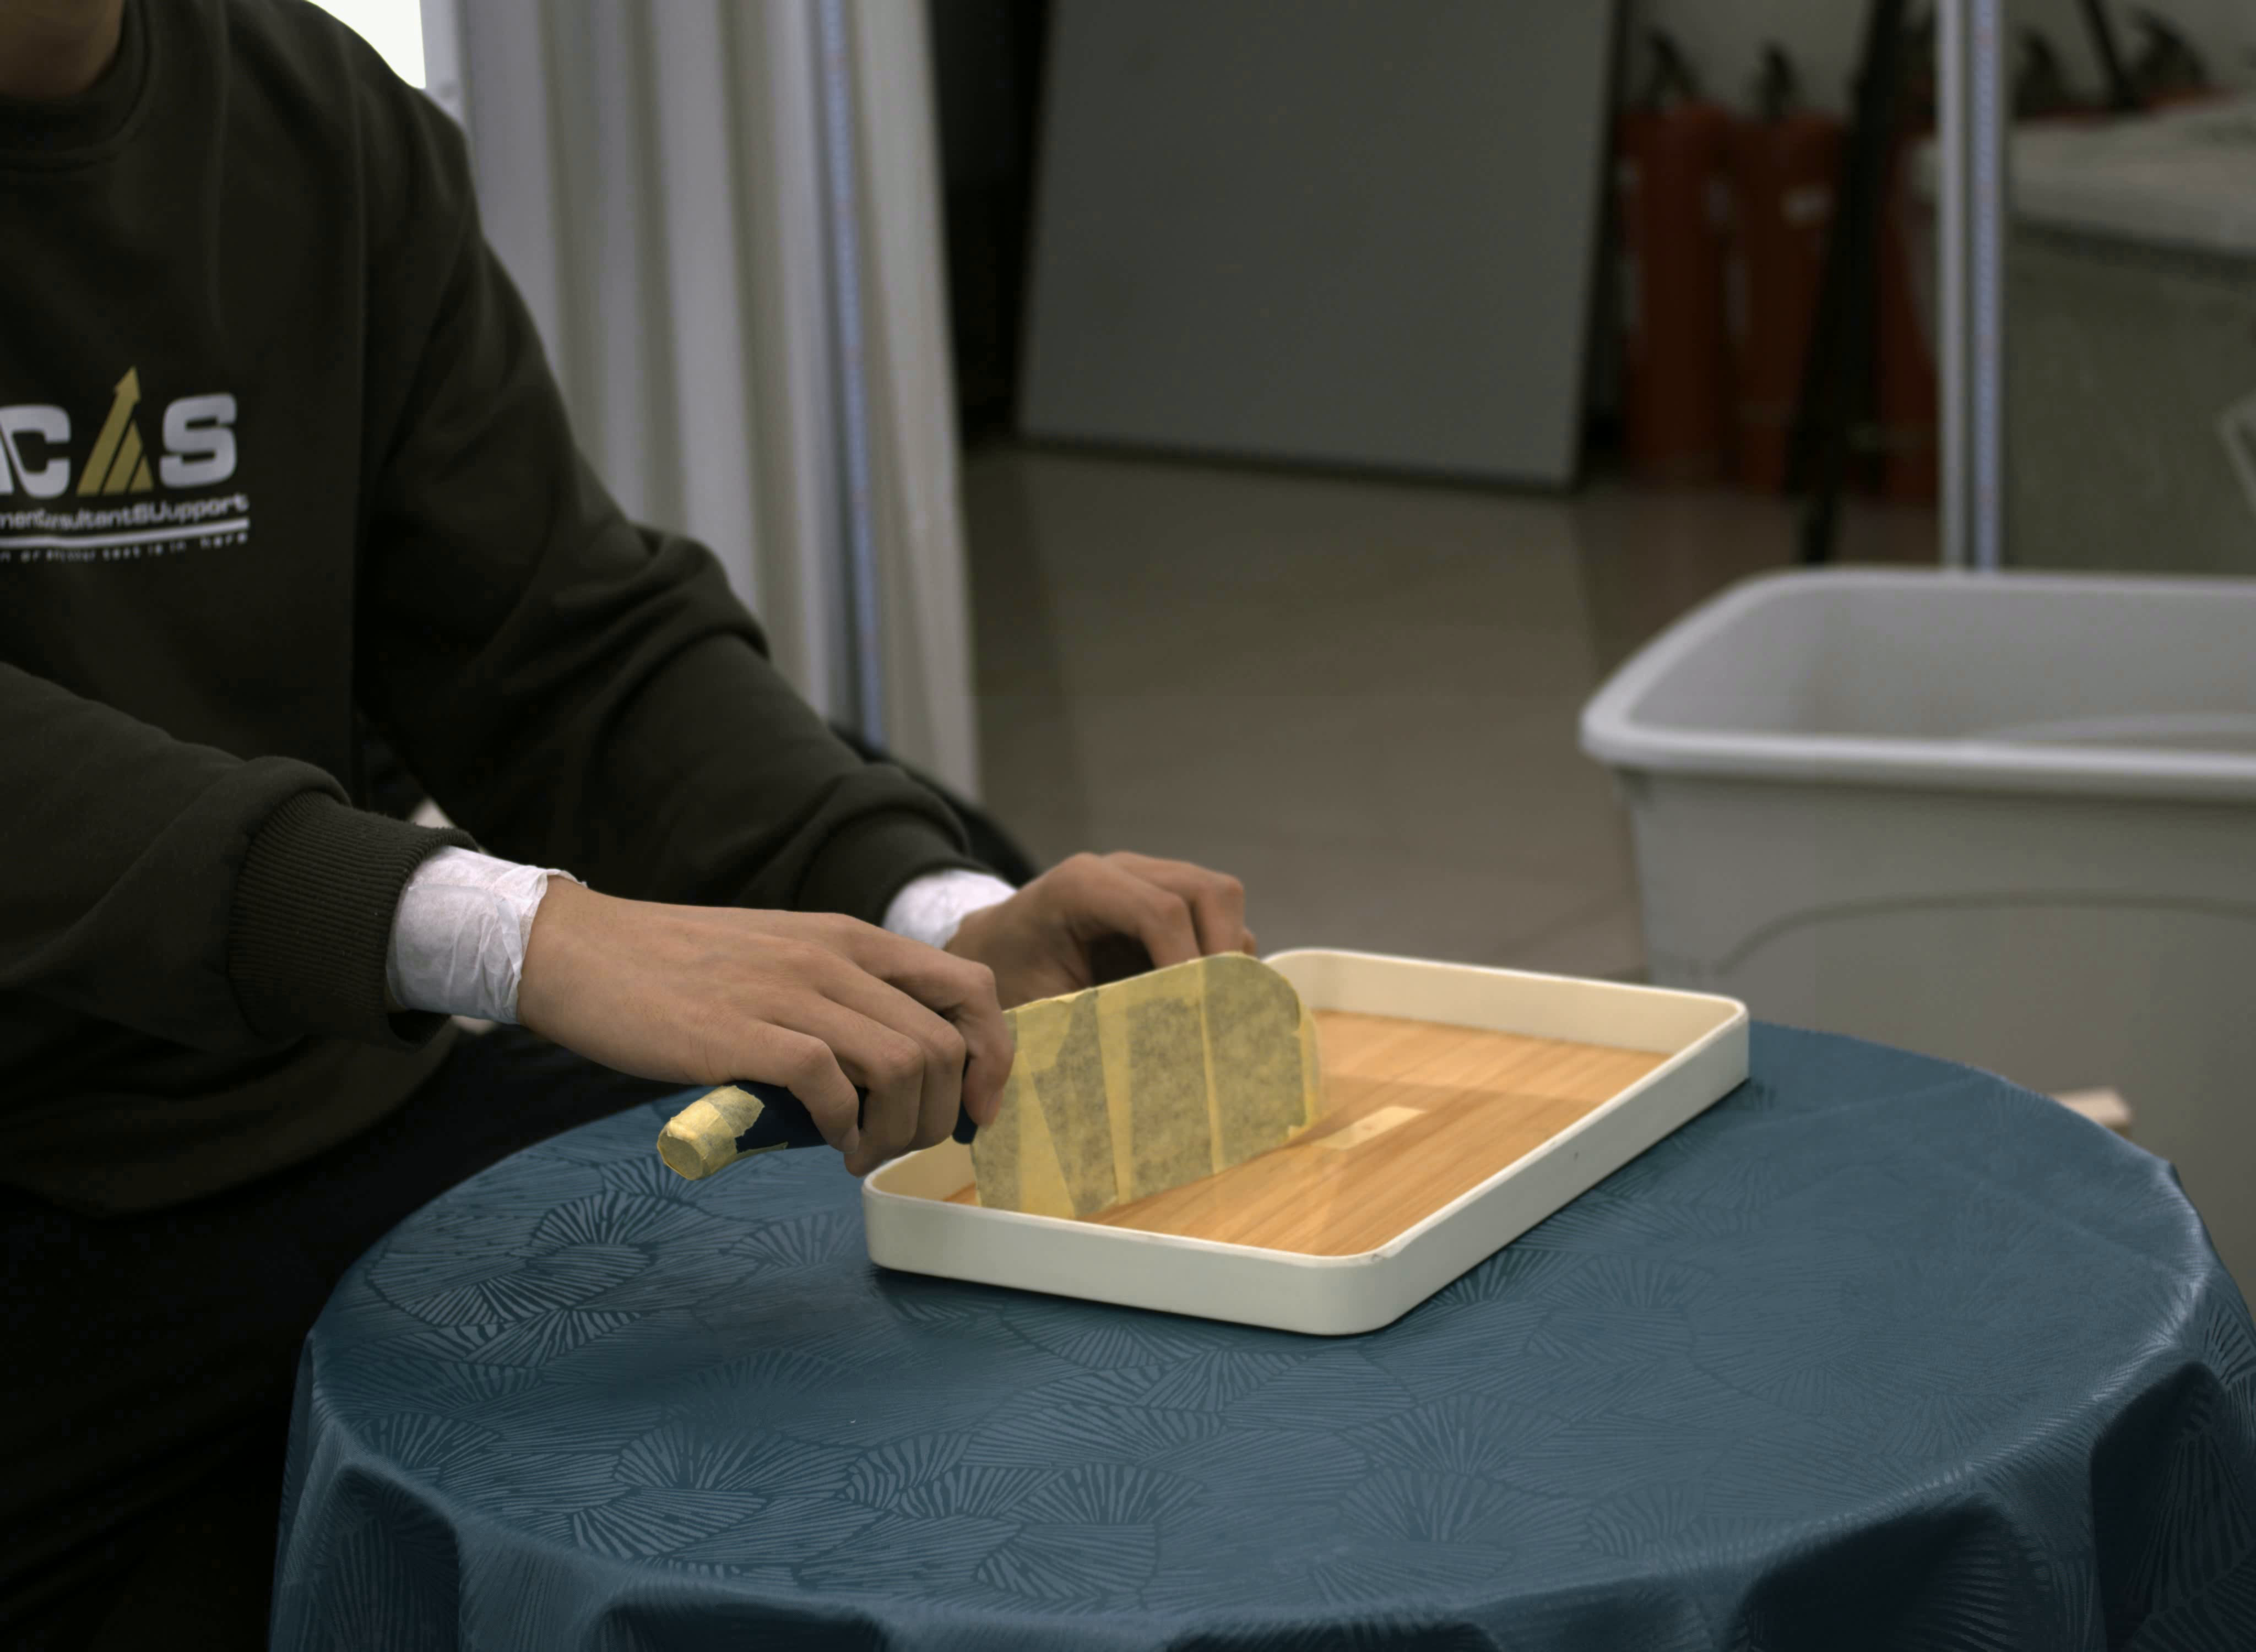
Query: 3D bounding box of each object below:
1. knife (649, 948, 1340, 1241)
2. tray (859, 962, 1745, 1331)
[{"bbox_3d":[-0.033,0.091,1.698,0.283,0.082,0.027,-9,4,-42],"label":"knife"},{"bbox_3d":[0.064,0.101,1.778,0.192,0.028,0.295,4,16,31],"label":"tray"}]
